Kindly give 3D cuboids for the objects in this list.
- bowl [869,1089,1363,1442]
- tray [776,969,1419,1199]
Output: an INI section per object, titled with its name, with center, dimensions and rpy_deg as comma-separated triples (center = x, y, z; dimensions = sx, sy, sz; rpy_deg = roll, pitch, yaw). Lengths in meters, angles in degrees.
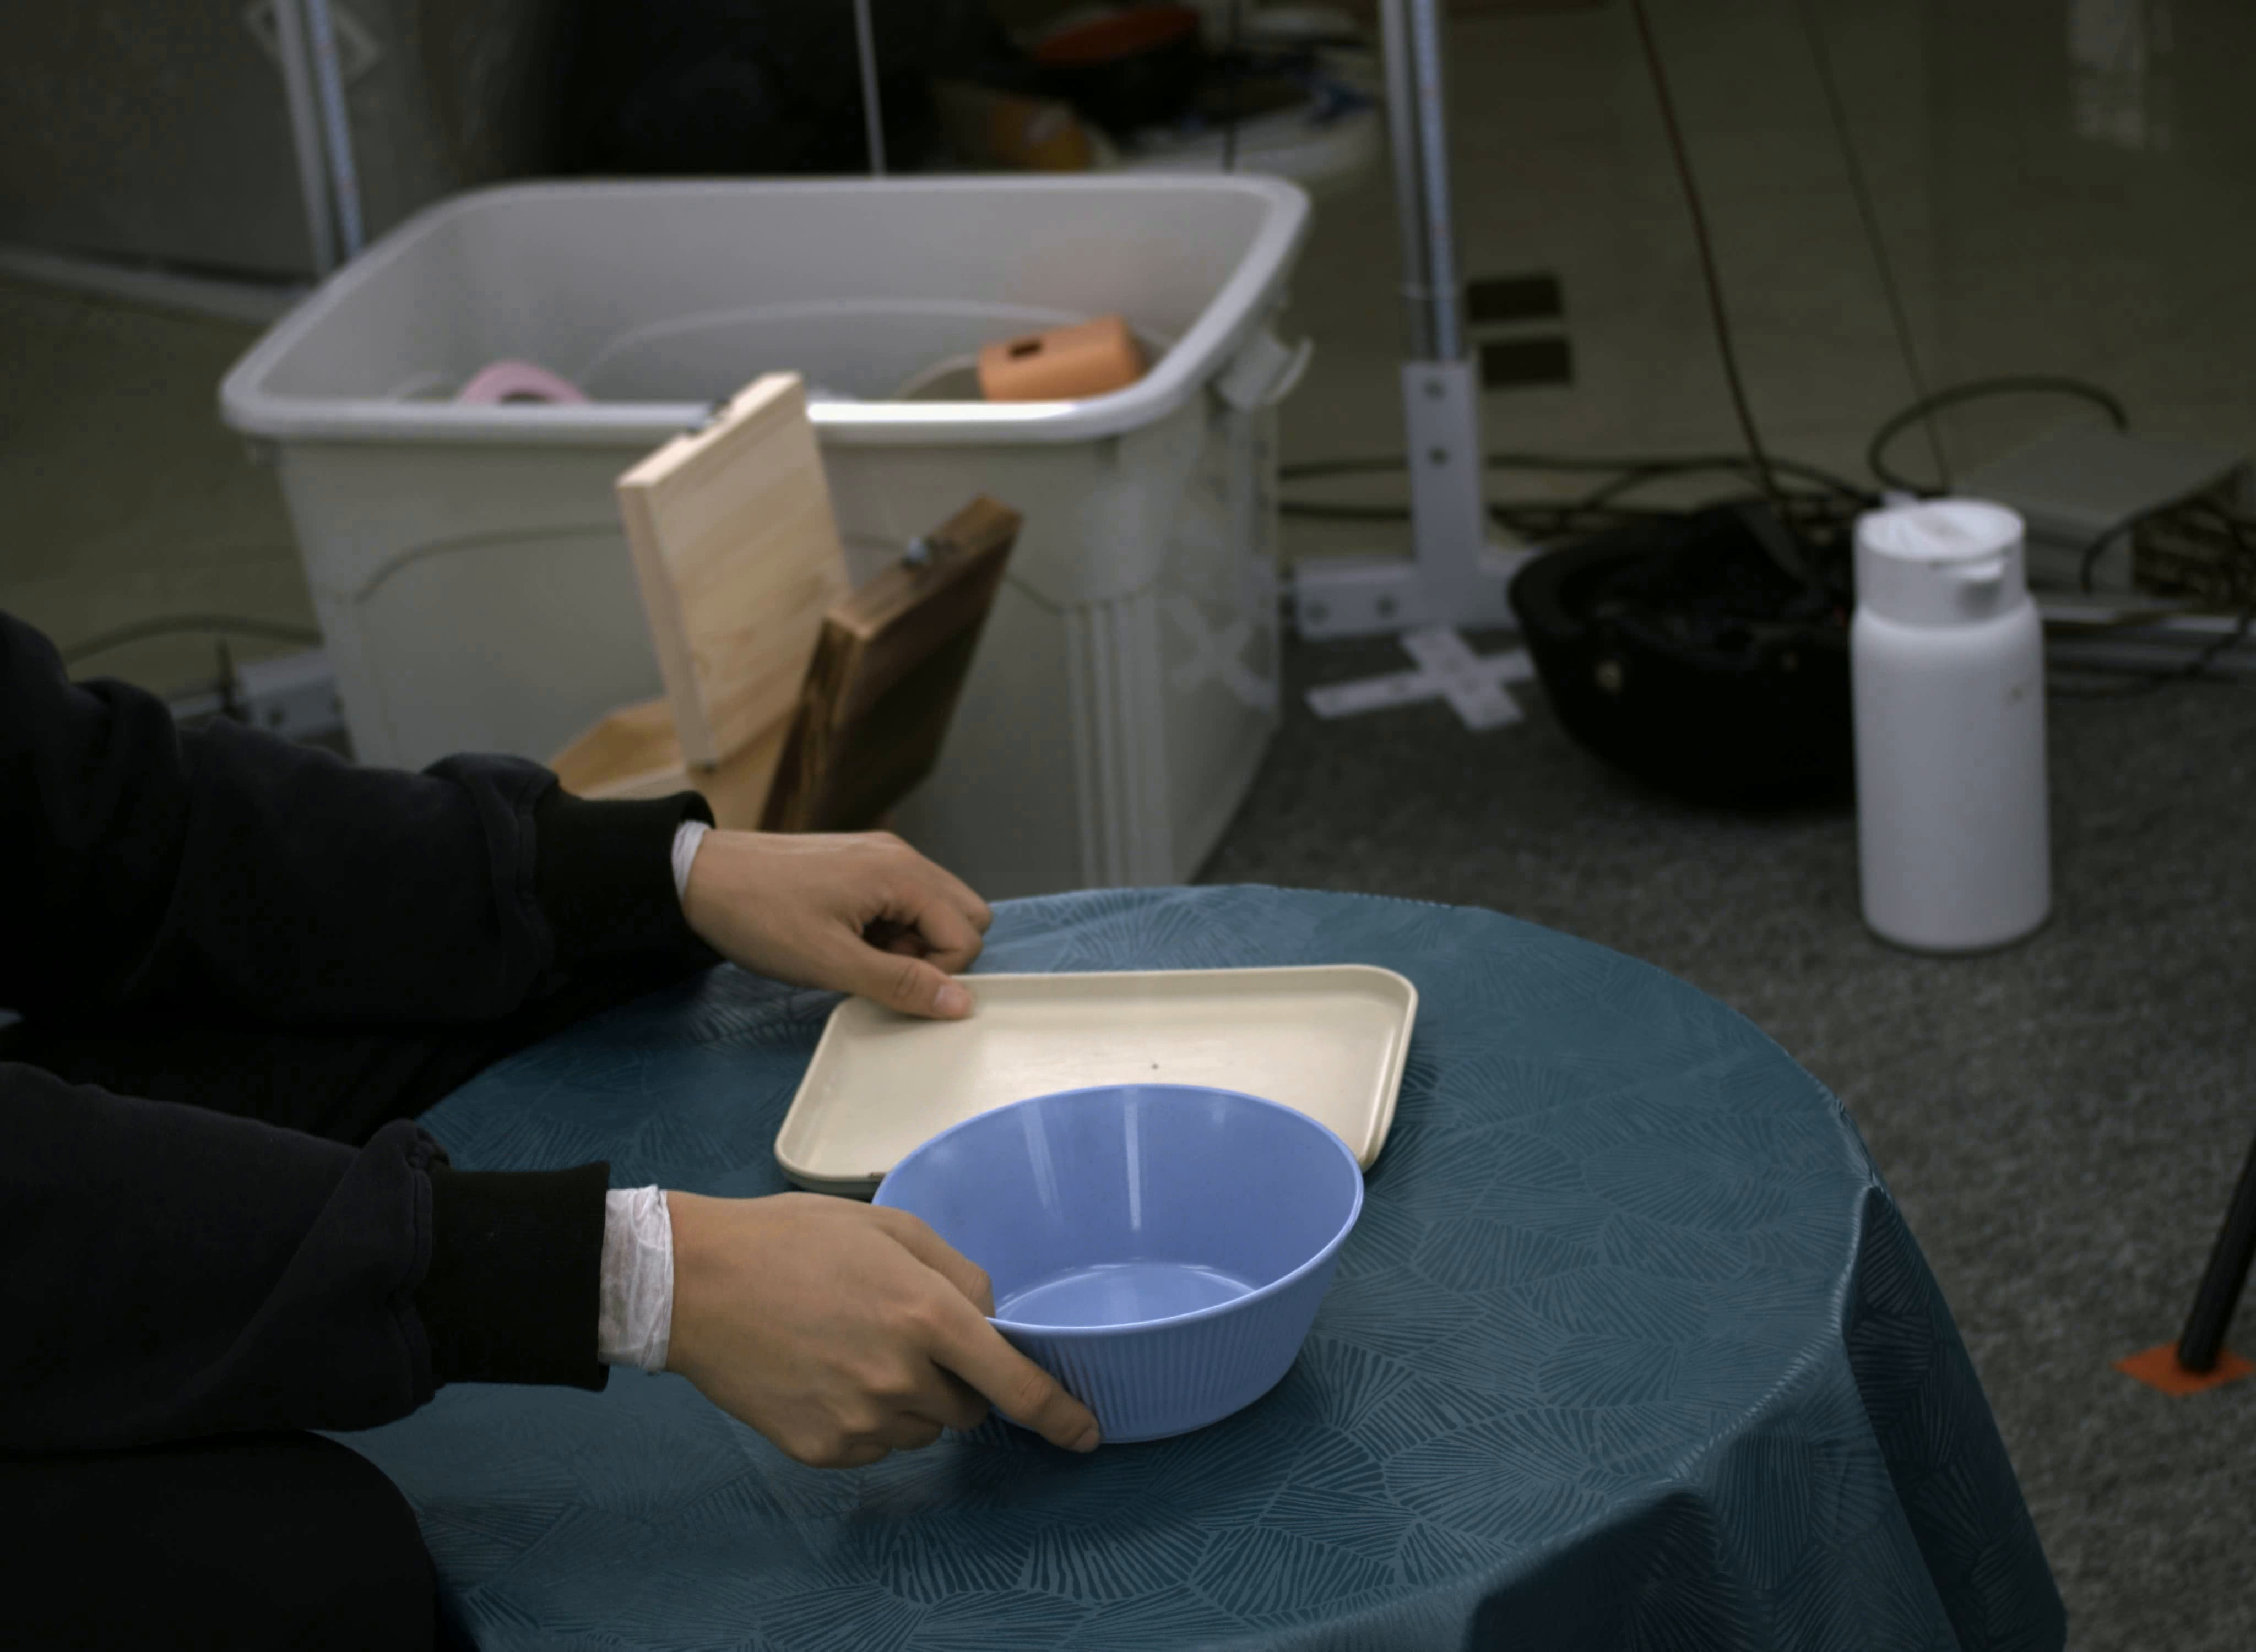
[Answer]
[bowl]
center = -0.002, 0.162, 2.015
dimensions = 0.176, 0.071, 0.173
rpy_deg = -4, 25, 2
[tray]
center = -0.010, 0.102, 2.214
dimensions = 0.239, 0.018, 0.169
rpy_deg = -2, 25, 11
